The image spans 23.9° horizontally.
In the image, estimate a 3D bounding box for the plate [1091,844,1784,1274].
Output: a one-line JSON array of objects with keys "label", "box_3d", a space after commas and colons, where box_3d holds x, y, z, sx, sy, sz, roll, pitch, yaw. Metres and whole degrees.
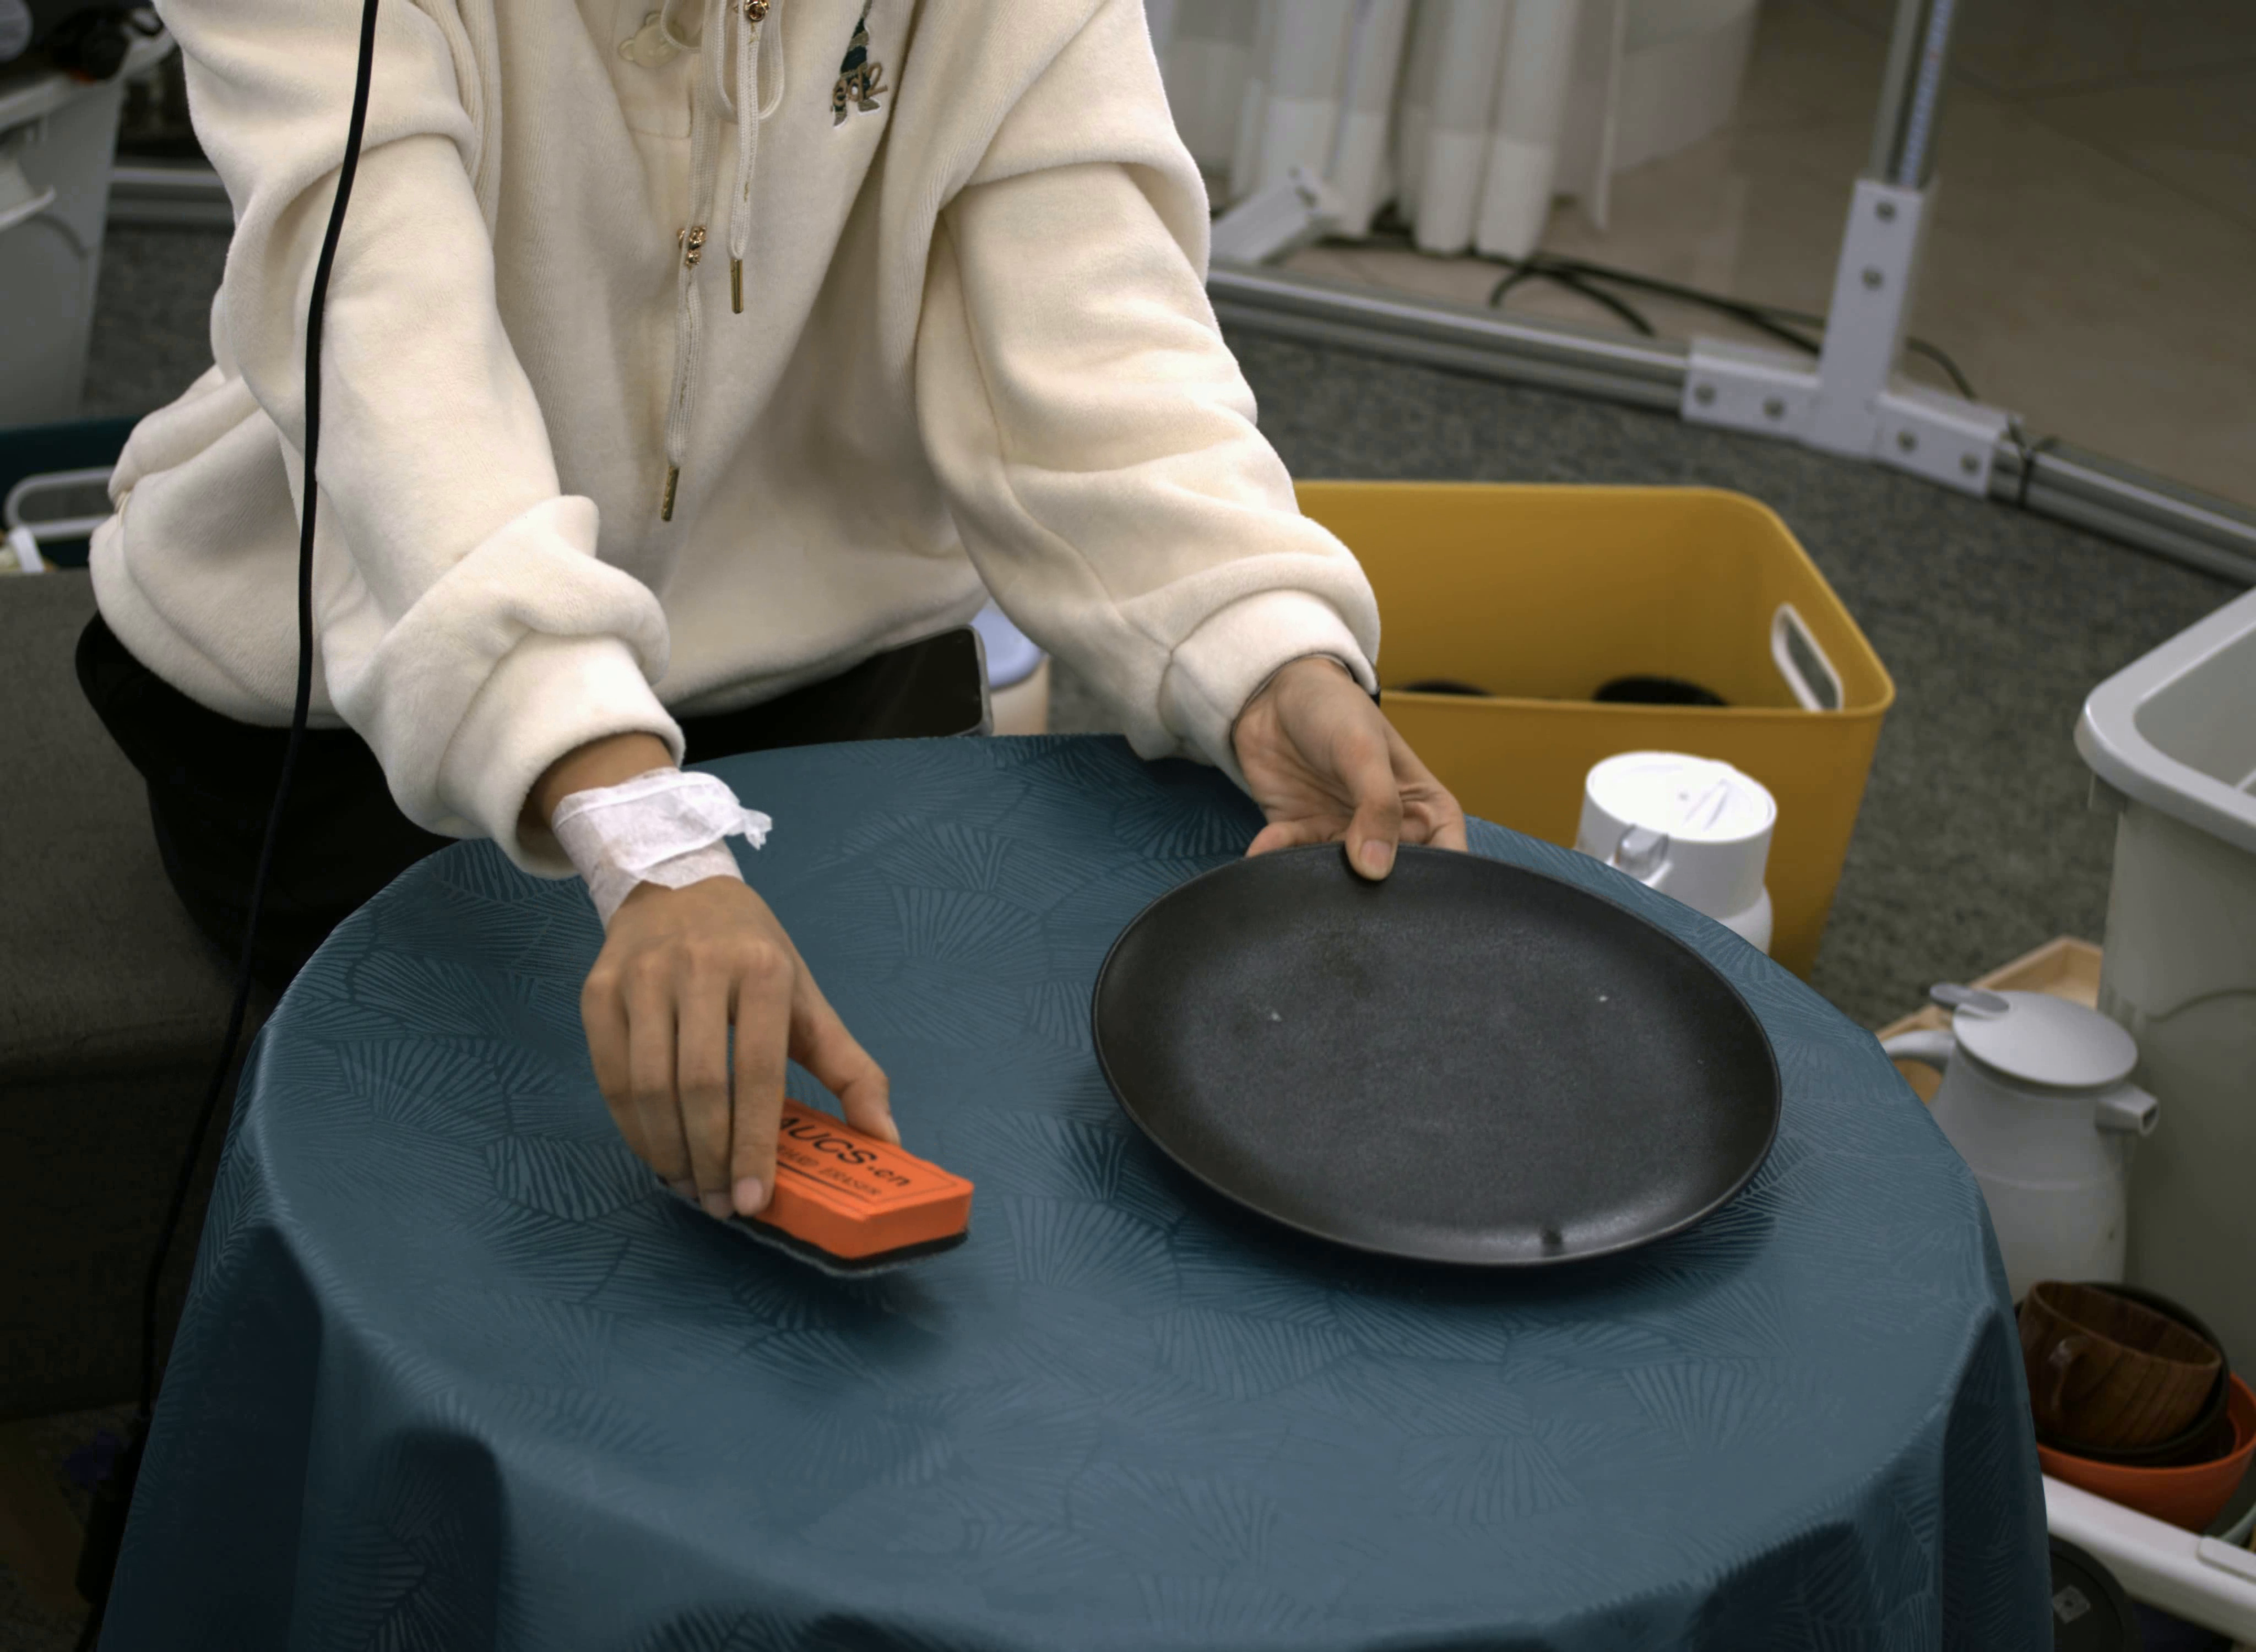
[{"label": "plate", "box_3d": [0.107, 0.083, 1.854, 0.243, 0.023, 0.246, 5, 34, -4]}]

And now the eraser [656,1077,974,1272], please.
[{"label": "eraser", "box_3d": [-0.103, 0.113, 1.737, 0.058, 0.023, 0.109, -11, 25, -39]}]
